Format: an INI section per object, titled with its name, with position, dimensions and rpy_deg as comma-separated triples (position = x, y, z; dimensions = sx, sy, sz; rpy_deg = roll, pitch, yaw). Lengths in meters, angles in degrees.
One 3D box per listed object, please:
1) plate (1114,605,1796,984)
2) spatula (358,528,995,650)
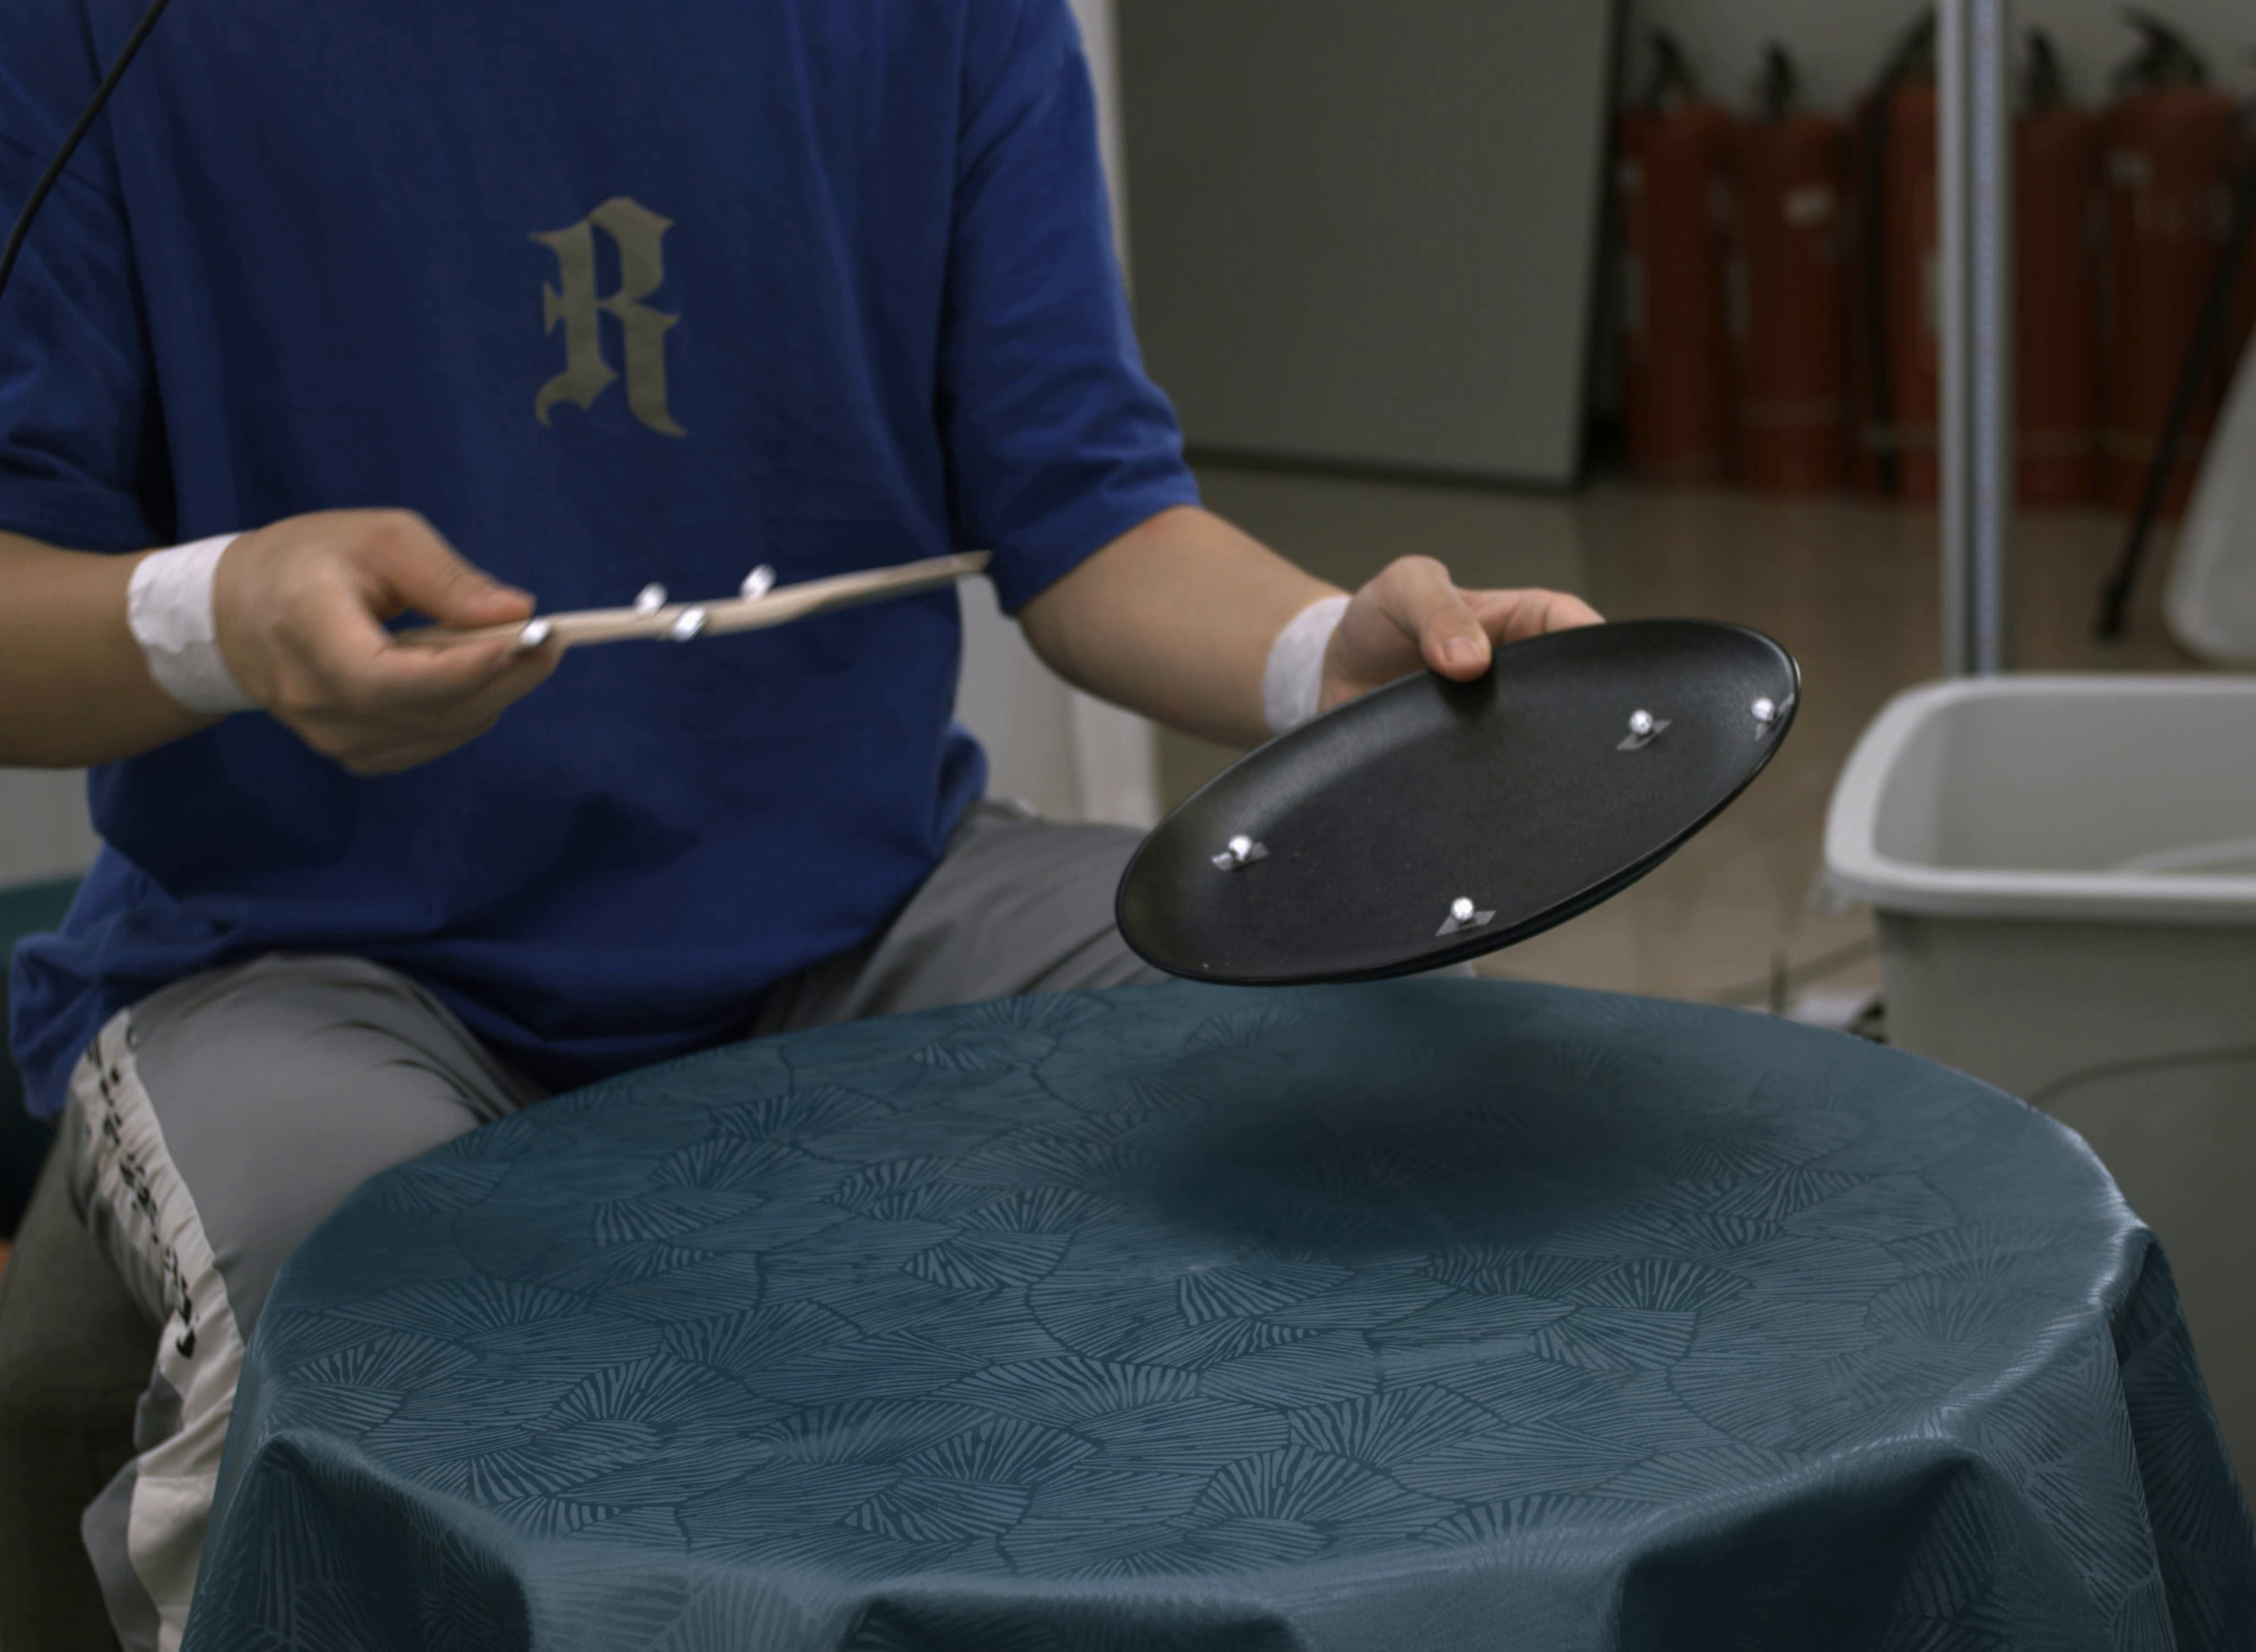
[plate]
position = 0.110, -0.005, 1.790
dimensions = 0.243, 0.023, 0.245
rpy_deg = -21, 21, 7
[spatula]
position = -0.159, -0.072, 1.735
dimensions = 0.071, 0.011, 0.296
rpy_deg = -15, 7, -41
